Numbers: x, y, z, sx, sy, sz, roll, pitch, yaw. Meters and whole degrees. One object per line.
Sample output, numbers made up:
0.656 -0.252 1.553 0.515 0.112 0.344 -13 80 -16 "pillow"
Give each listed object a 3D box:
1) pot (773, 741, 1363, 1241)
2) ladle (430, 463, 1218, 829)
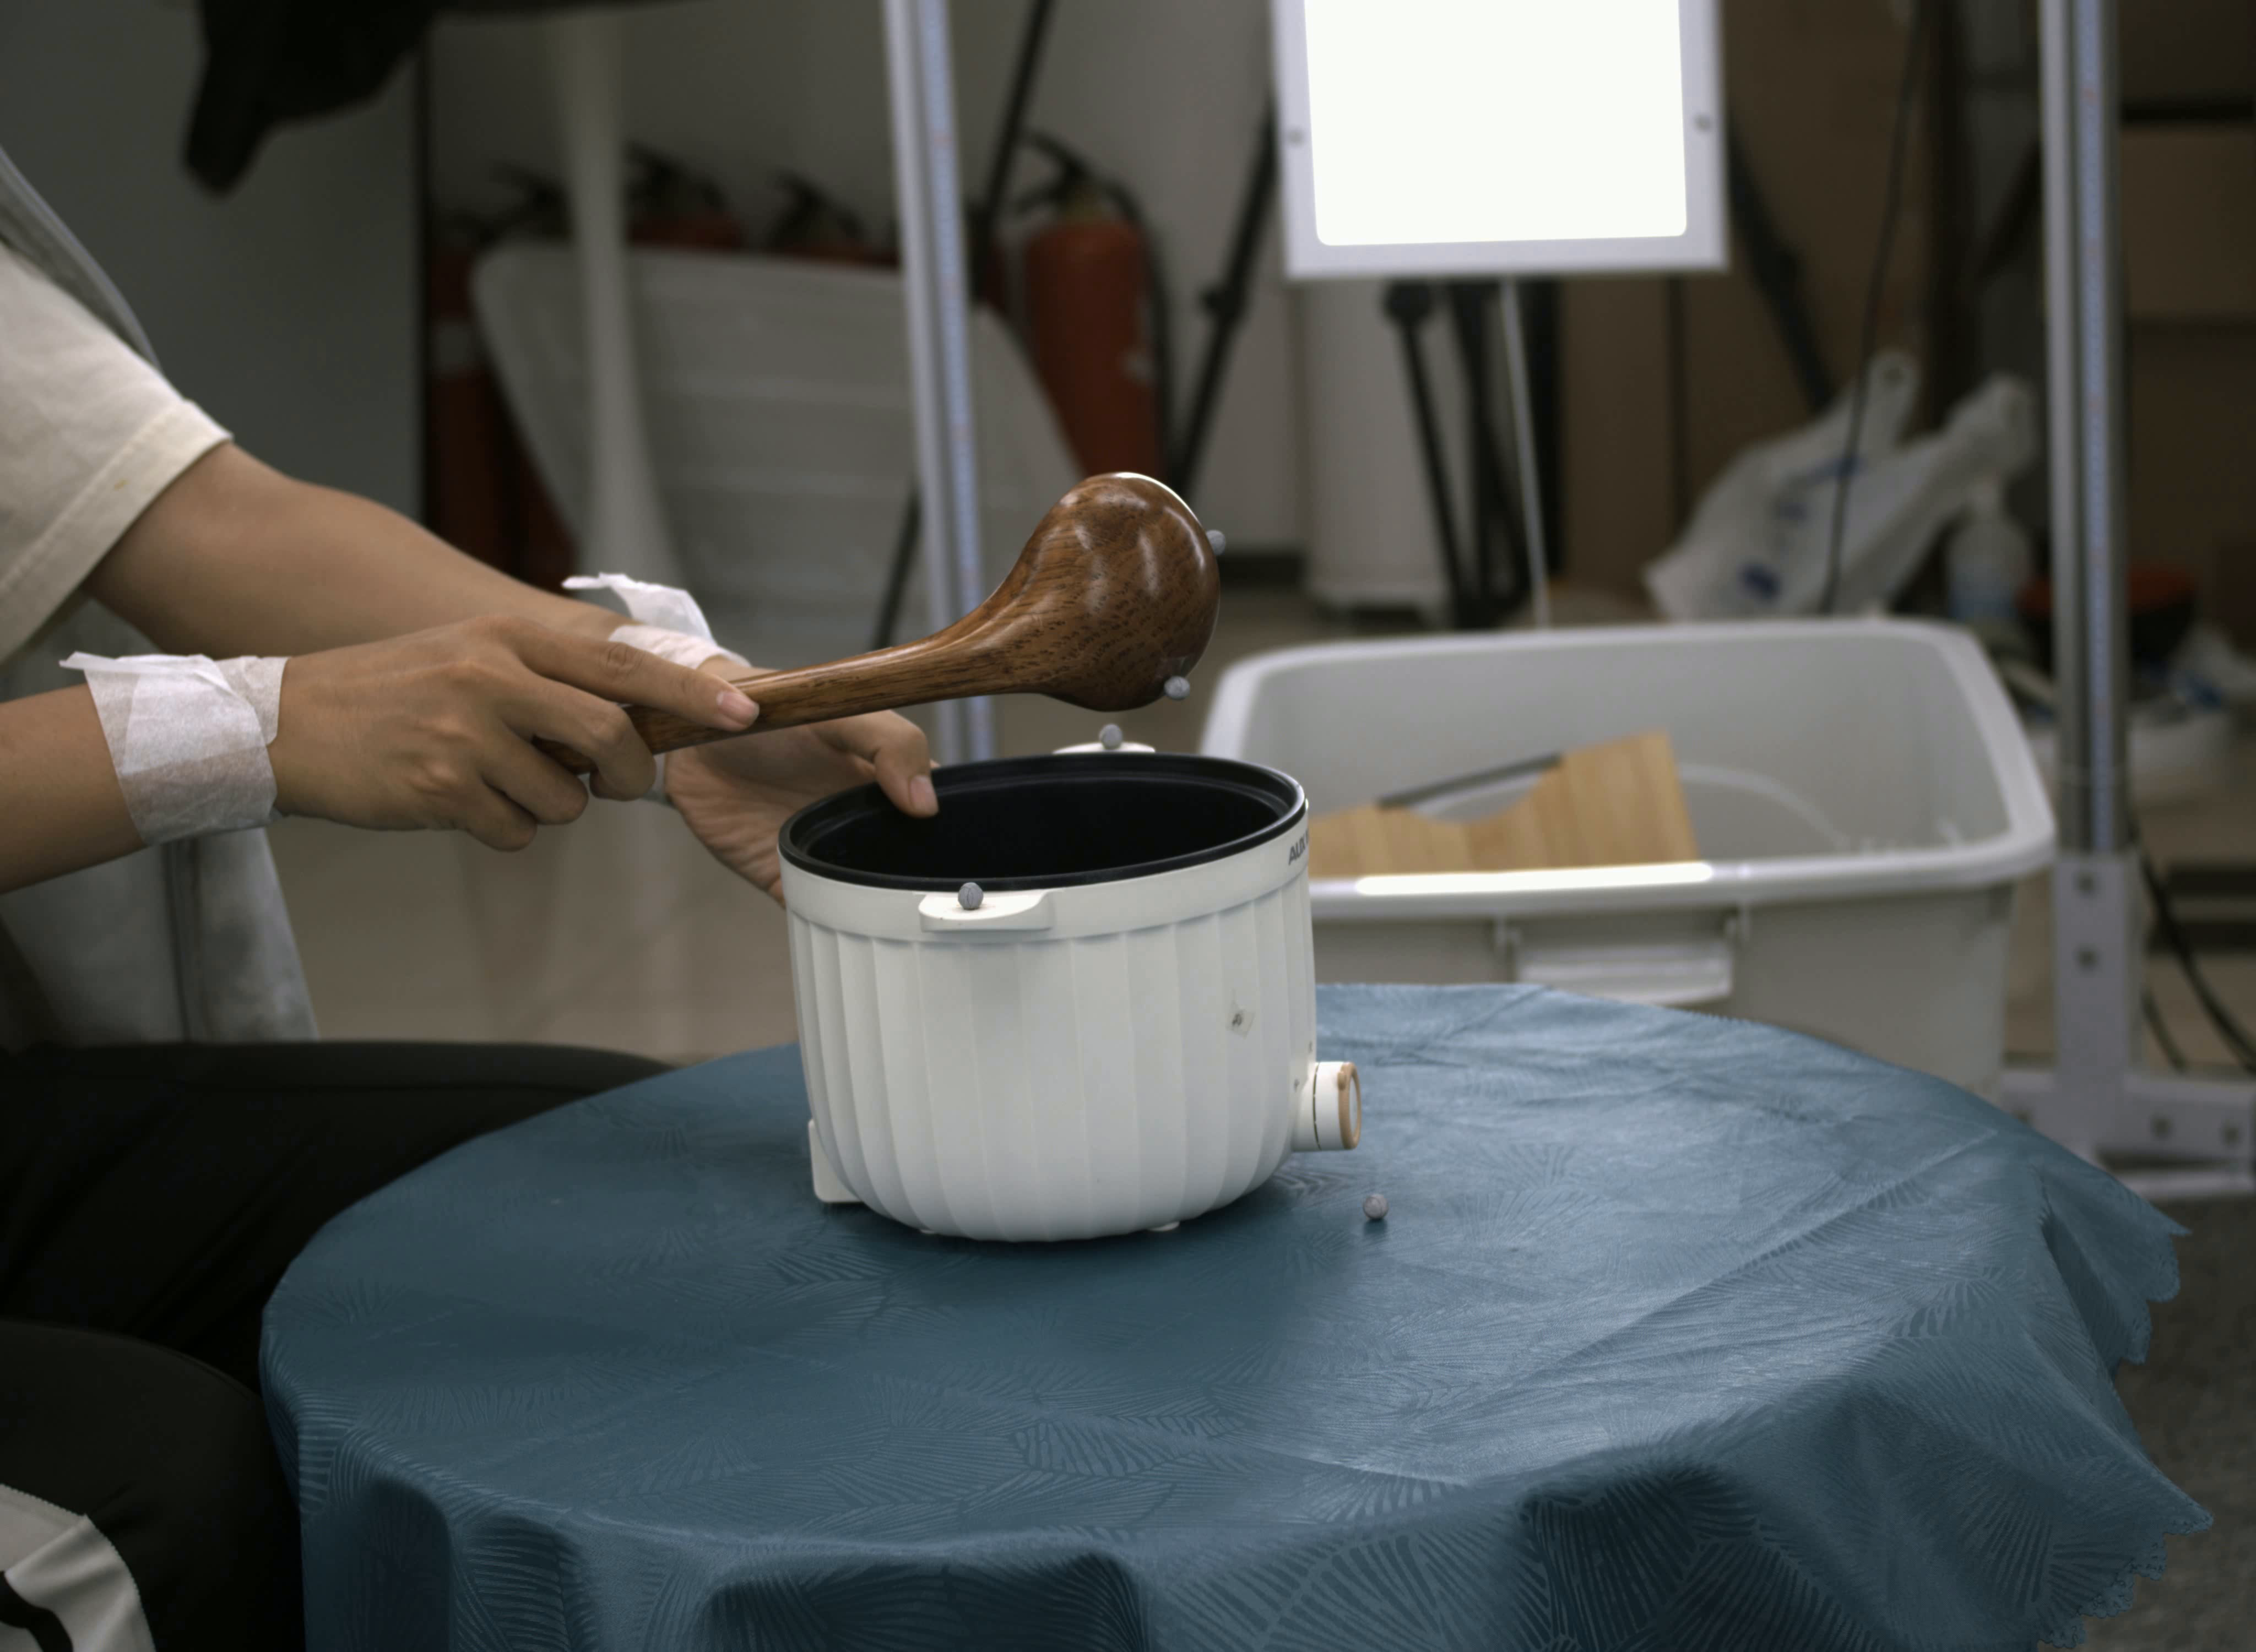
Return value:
-0.019 0.059 1.888 0.192 0.143 0.237 -5 14 13 "pot"
-0.103 -0.056 1.870 0.276 0.082 0.076 -14 17 14 "ladle"
